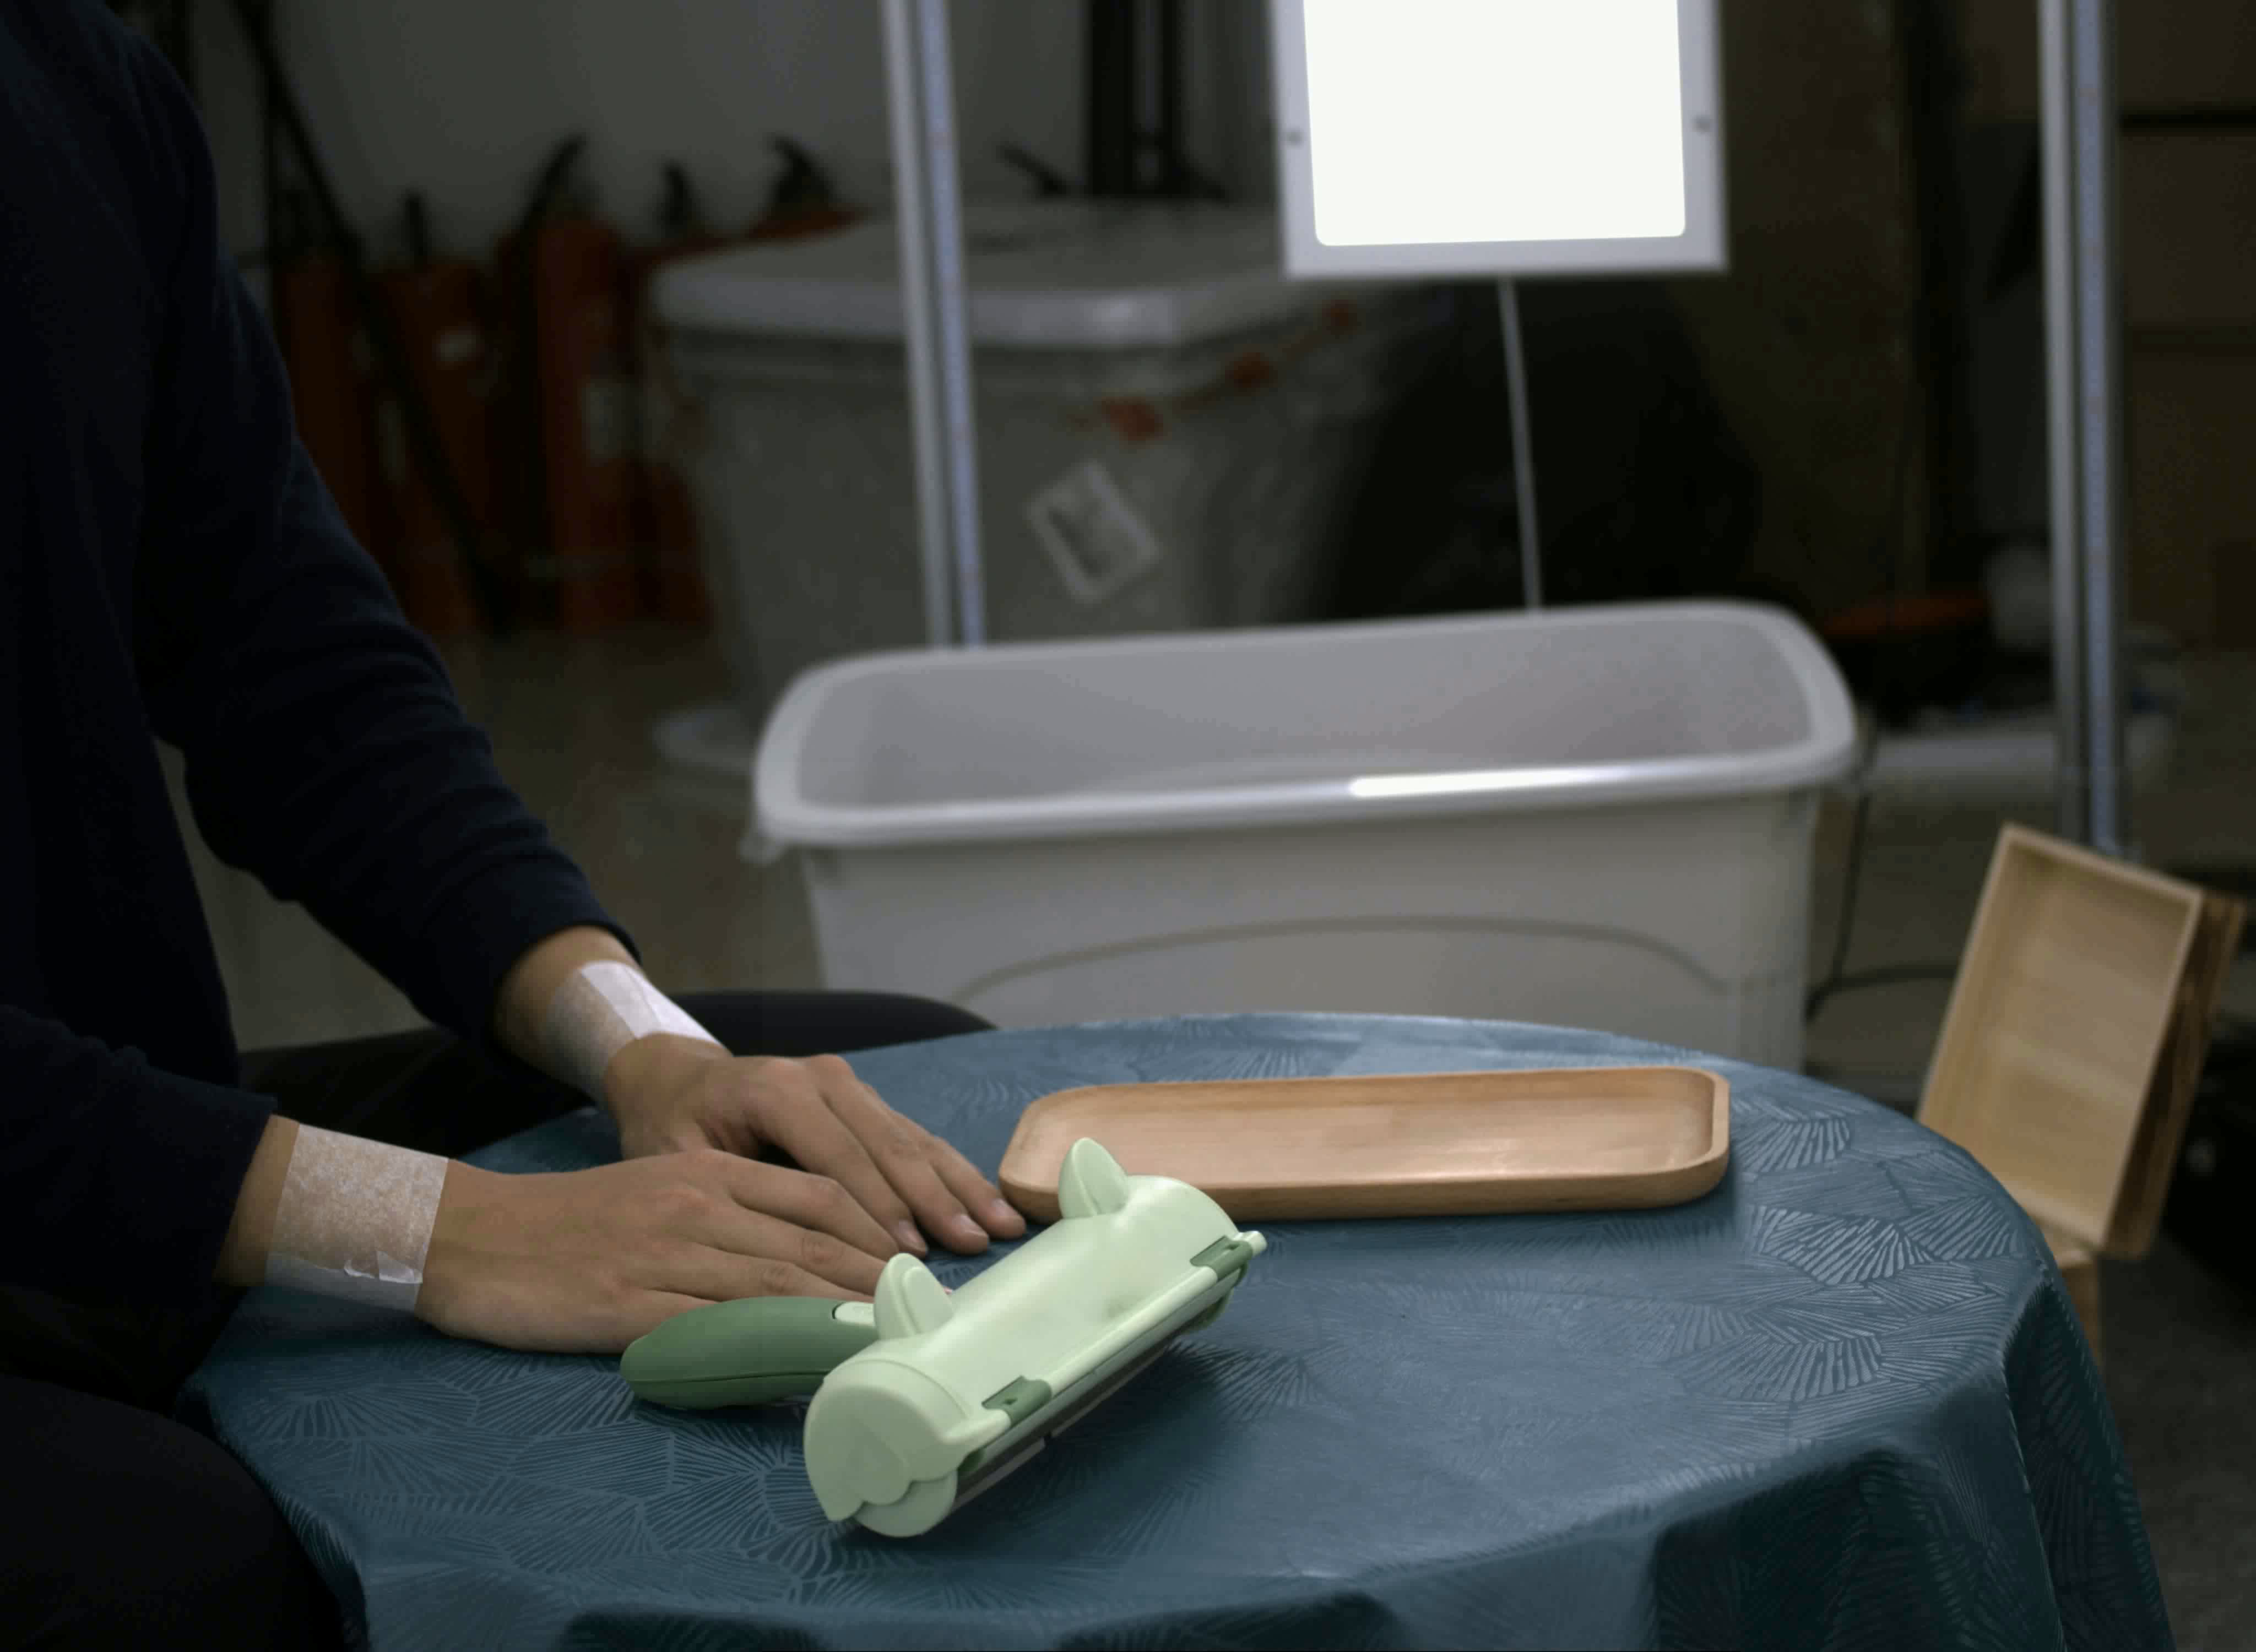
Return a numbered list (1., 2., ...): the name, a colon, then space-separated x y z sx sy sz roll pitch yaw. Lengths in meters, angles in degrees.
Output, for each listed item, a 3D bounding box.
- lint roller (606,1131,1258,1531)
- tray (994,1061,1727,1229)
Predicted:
1. lint roller: -0.080 0.141 1.682 0.186 0.082 0.194 9 18 26
2. tray: 0.082 0.110 1.899 0.252 0.023 0.129 -3 12 10
